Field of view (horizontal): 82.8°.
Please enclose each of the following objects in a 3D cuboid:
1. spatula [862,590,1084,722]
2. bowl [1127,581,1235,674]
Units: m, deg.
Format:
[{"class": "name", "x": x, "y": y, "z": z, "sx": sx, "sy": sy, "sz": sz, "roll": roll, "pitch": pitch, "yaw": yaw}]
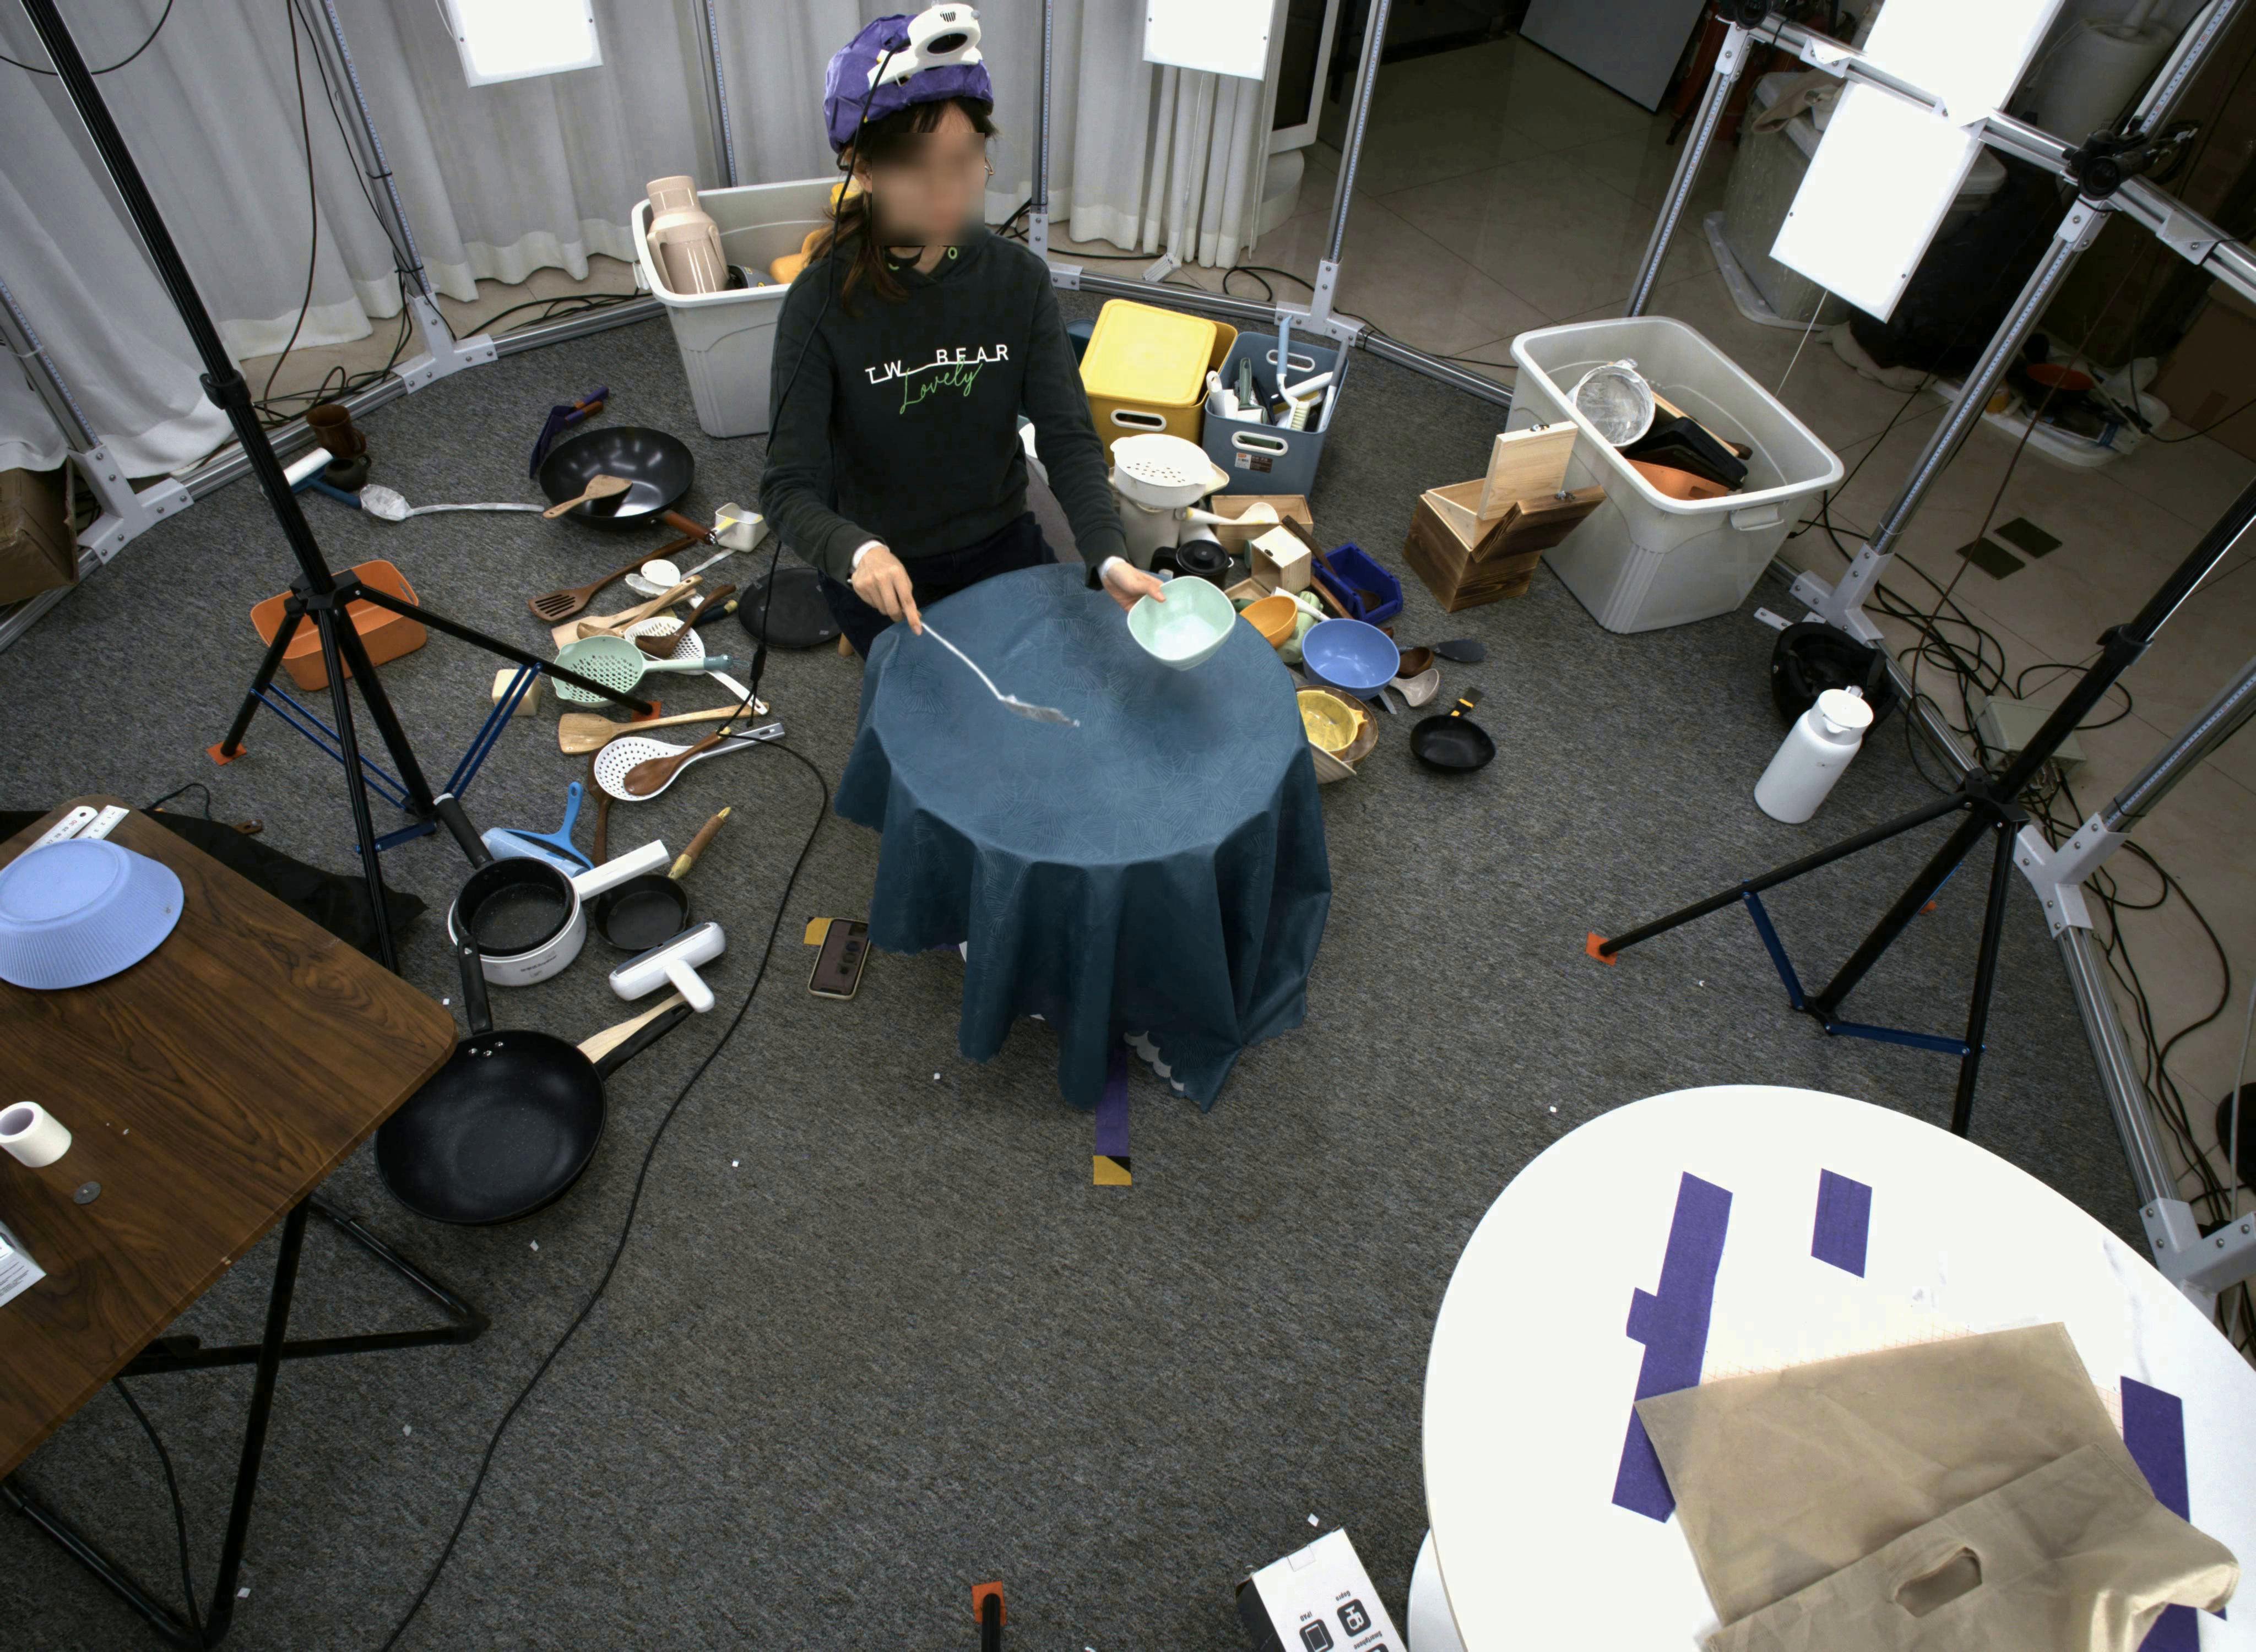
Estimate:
[{"class": "spatula", "x": -0.211, "y": -0.226, "z": 1.666, "sx": 0.369, "sy": 0.098, "sz": 0.044, "roll": 39, "pitch": 98, "yaw": 18}, {"class": "bowl", "x": 0.076, "y": -0.268, "z": 1.793, "sx": 0.151, "sy": 0.057, "sz": 0.155, "roll": -5, "pitch": 54, "yaw": 7}]
